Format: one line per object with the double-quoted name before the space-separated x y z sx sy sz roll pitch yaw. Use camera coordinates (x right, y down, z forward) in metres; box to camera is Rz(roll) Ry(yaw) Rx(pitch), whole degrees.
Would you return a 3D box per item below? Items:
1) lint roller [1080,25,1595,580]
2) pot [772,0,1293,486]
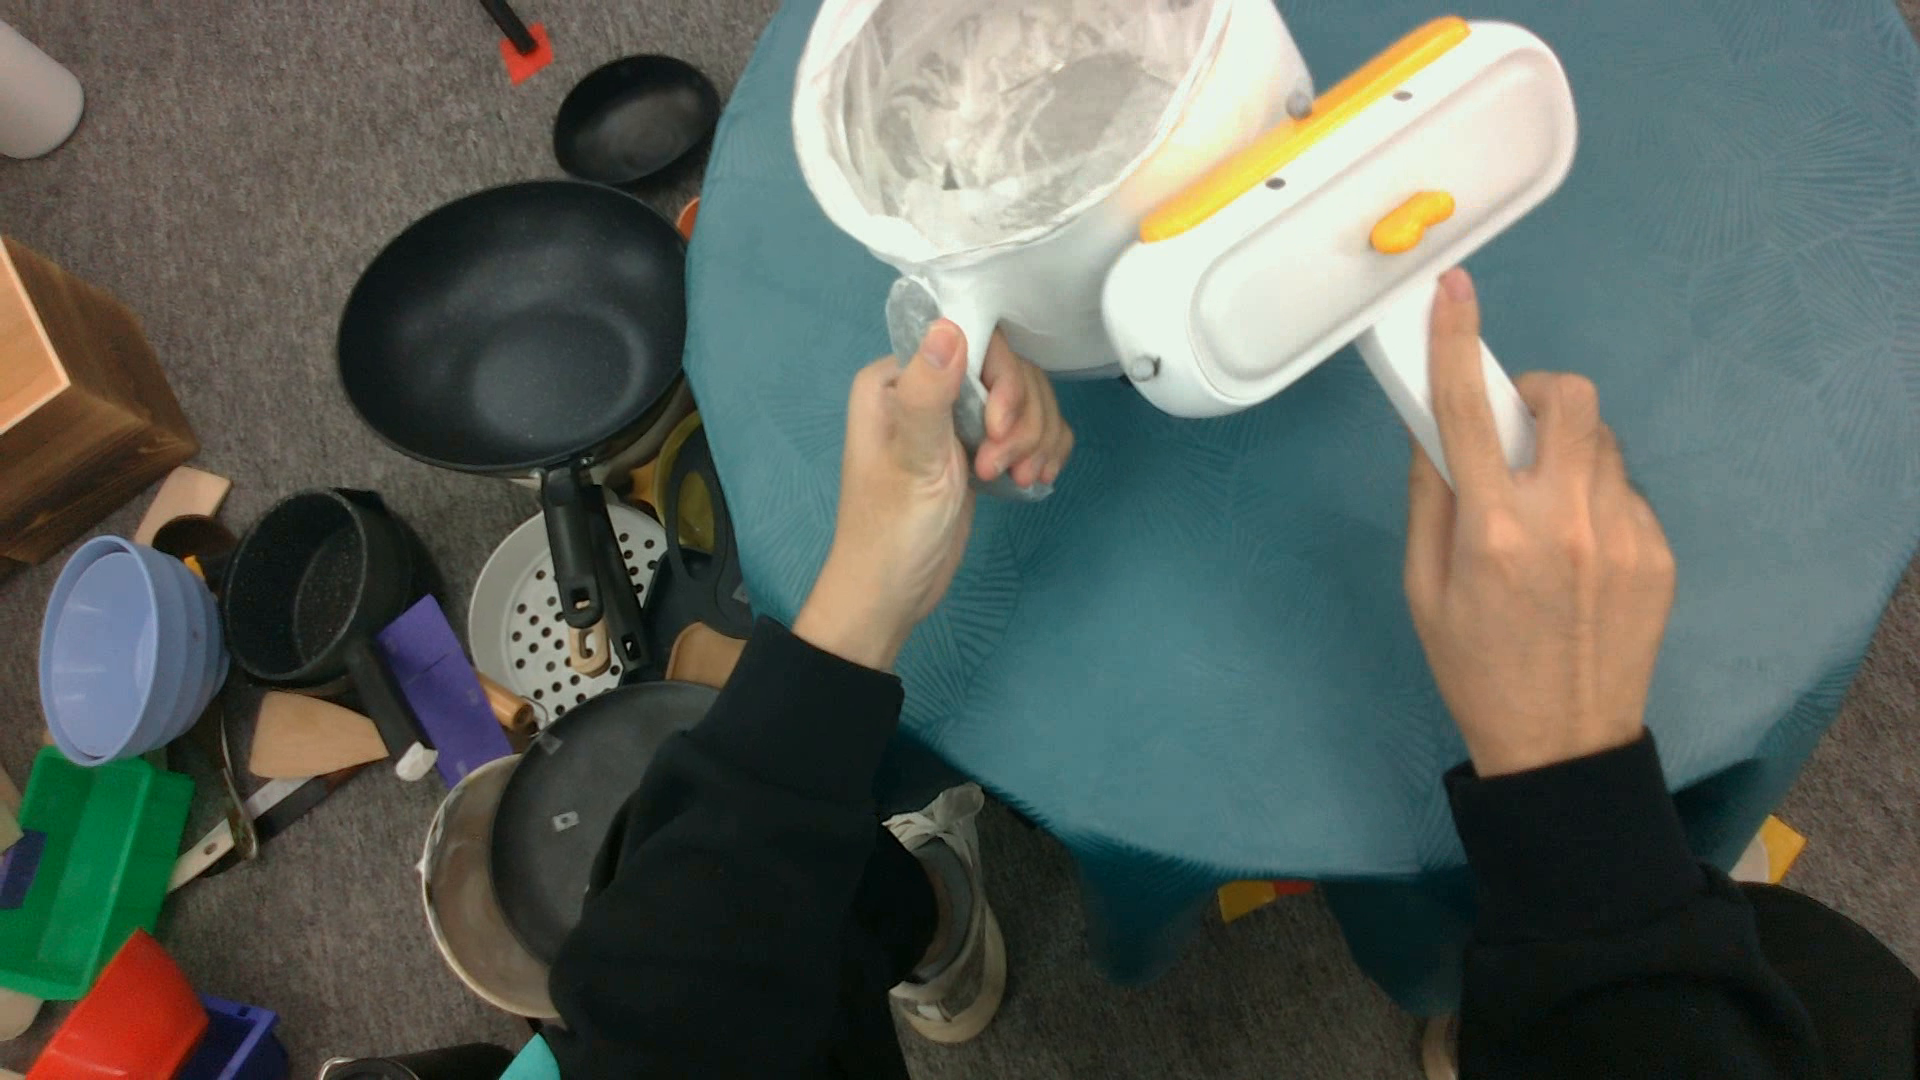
"lint roller" 0.163 -0.068 0.501 0.193 0.074 0.192 -39 106 -16
"pot" 0.027 -0.144 0.544 0.178 0.136 0.234 10 78 32
